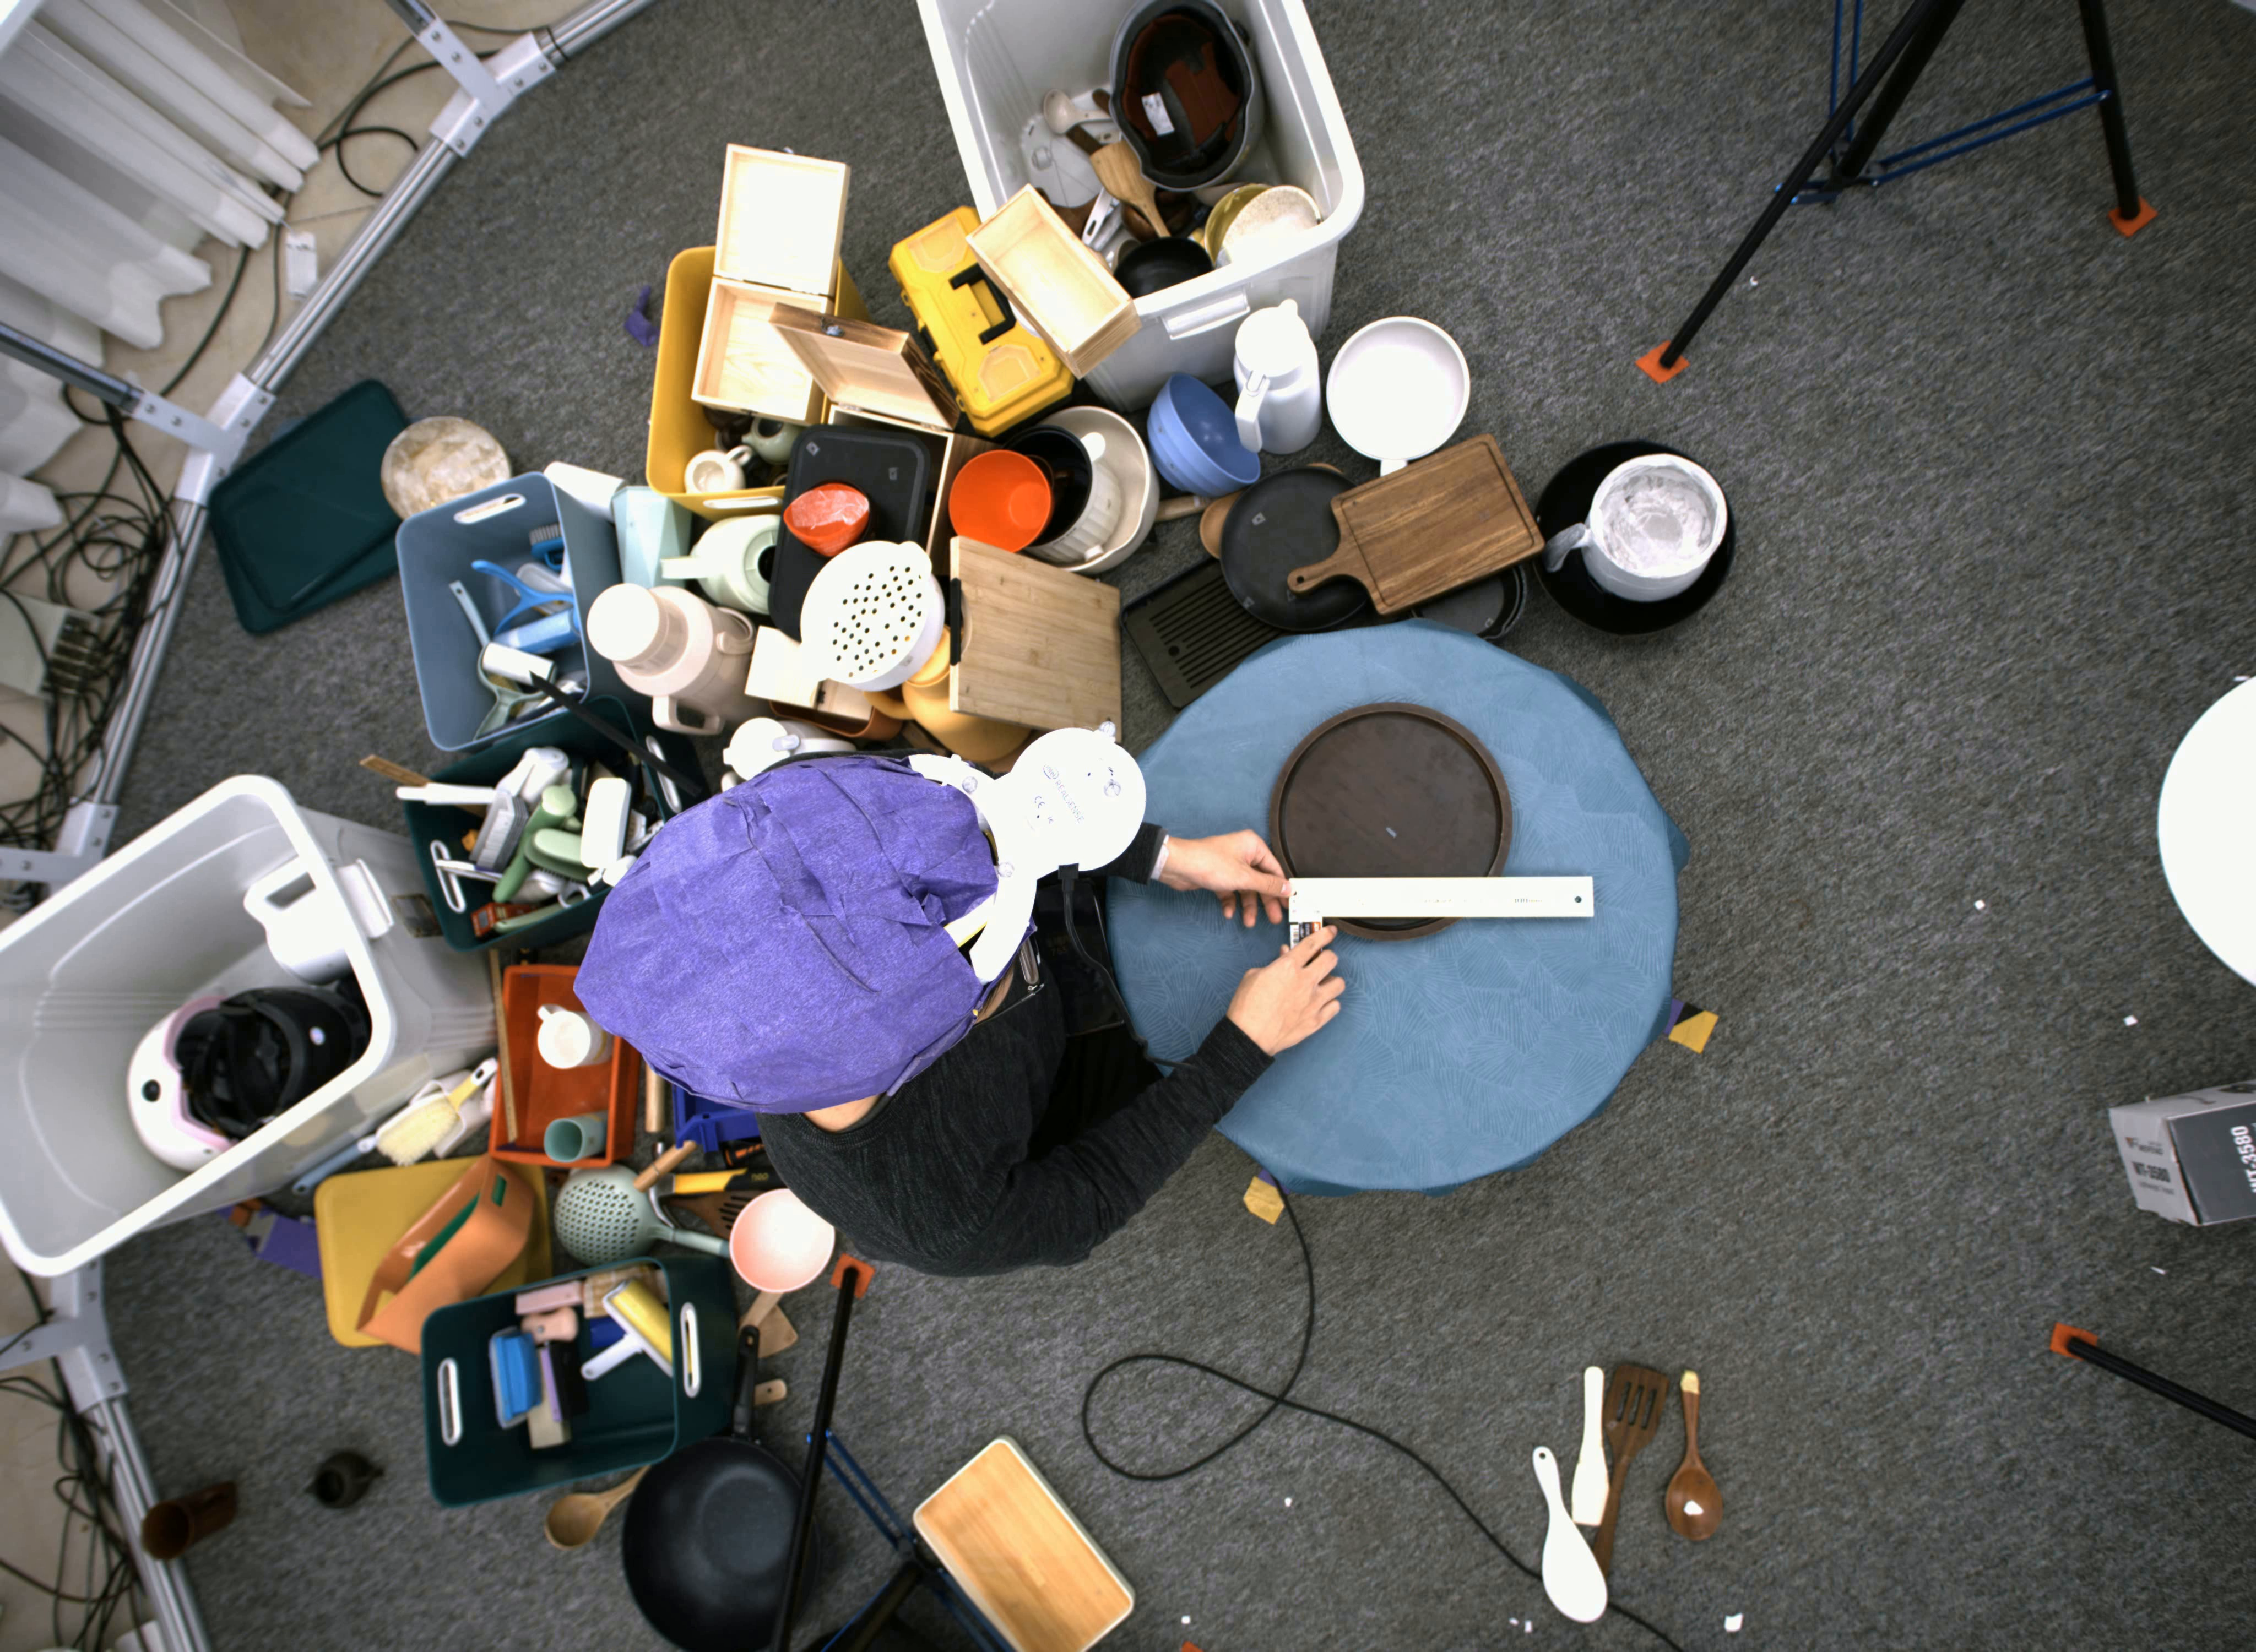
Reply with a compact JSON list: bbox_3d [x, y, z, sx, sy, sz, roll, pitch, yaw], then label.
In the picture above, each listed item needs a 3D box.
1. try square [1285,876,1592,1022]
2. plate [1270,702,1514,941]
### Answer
[{"bbox_3d":[0.318,0.125,1.421,0.314,0.016,0.151,-1,84,10],"label":"try square"},{"bbox_3d":[0.276,-0.006,1.451,0.256,0.029,0.254,-1,87,9],"label":"plate"}]
